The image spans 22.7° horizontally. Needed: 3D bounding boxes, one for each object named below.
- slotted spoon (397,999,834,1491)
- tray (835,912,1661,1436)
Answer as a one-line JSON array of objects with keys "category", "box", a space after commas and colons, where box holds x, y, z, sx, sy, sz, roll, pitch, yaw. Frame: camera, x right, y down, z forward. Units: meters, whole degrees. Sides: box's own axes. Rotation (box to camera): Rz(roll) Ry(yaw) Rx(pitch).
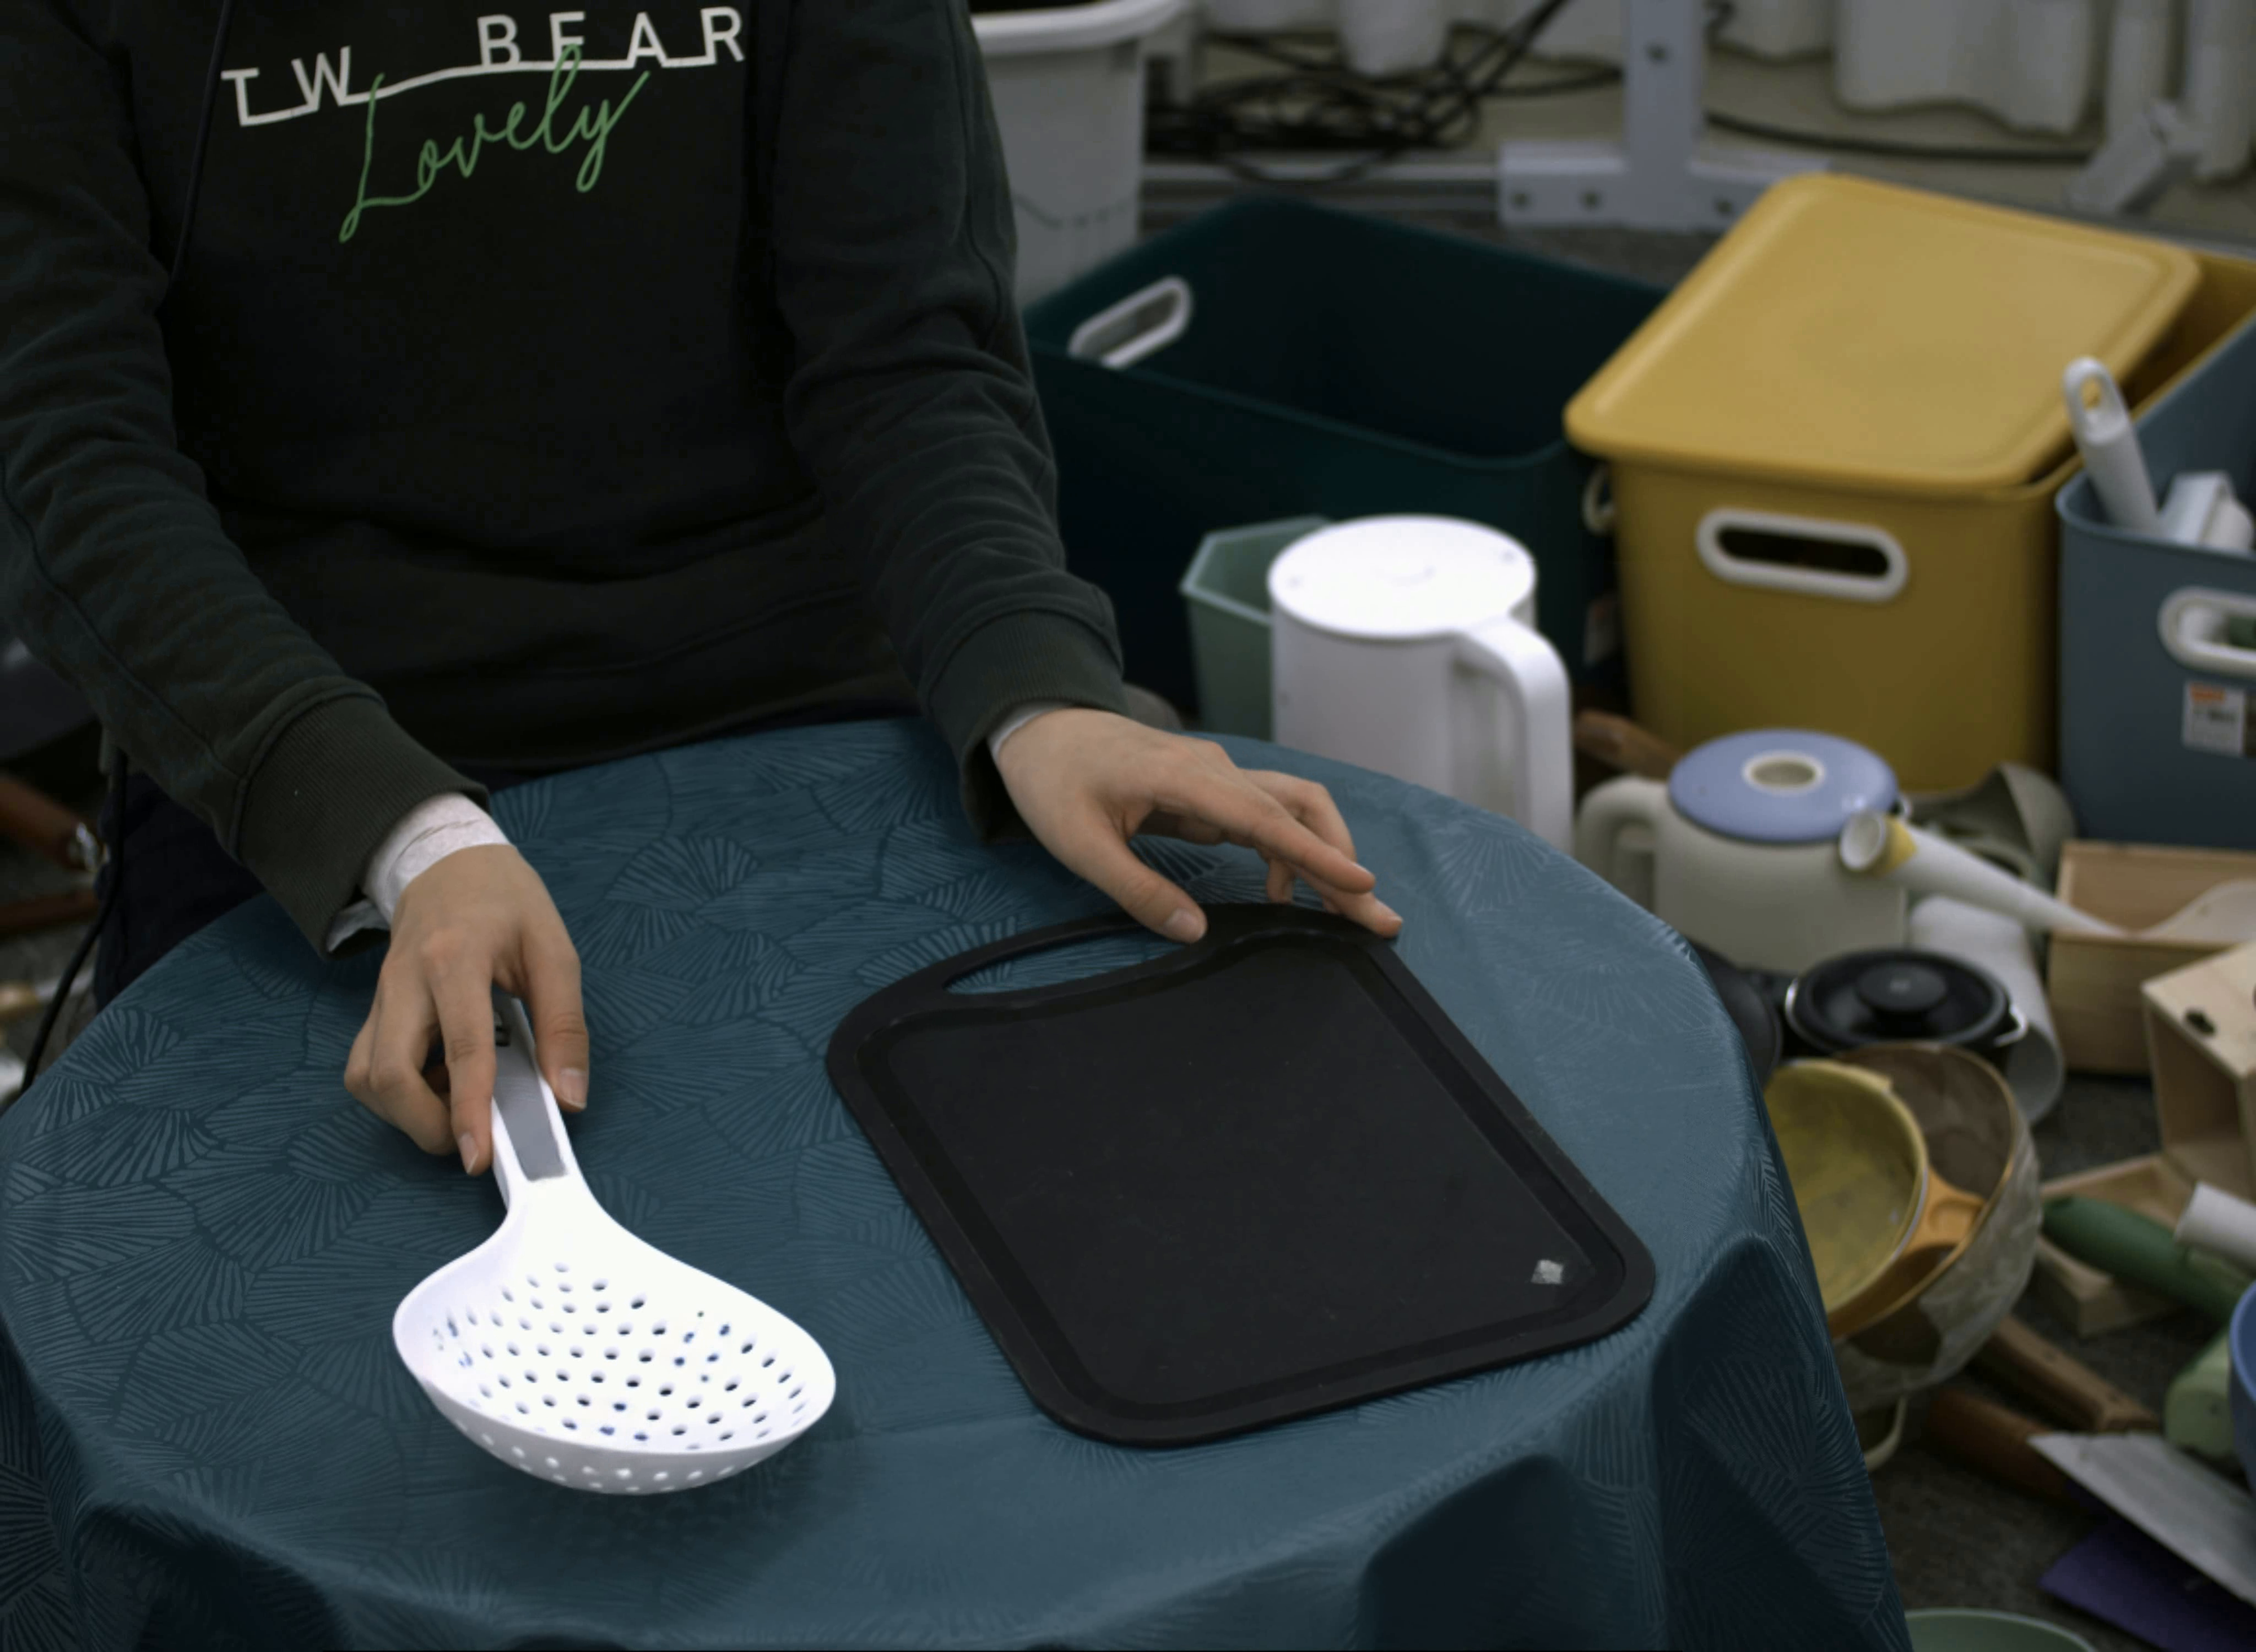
[{"category": "slotted spoon", "box": [-0.184, 0.129, 1.813, 0.136, 0.045, 0.353, 7, 23, -17]}, {"category": "tray", "box": [0.030, 0.106, 1.879, 0.211, 0.009, 0.328, -12, 28, -16]}]
